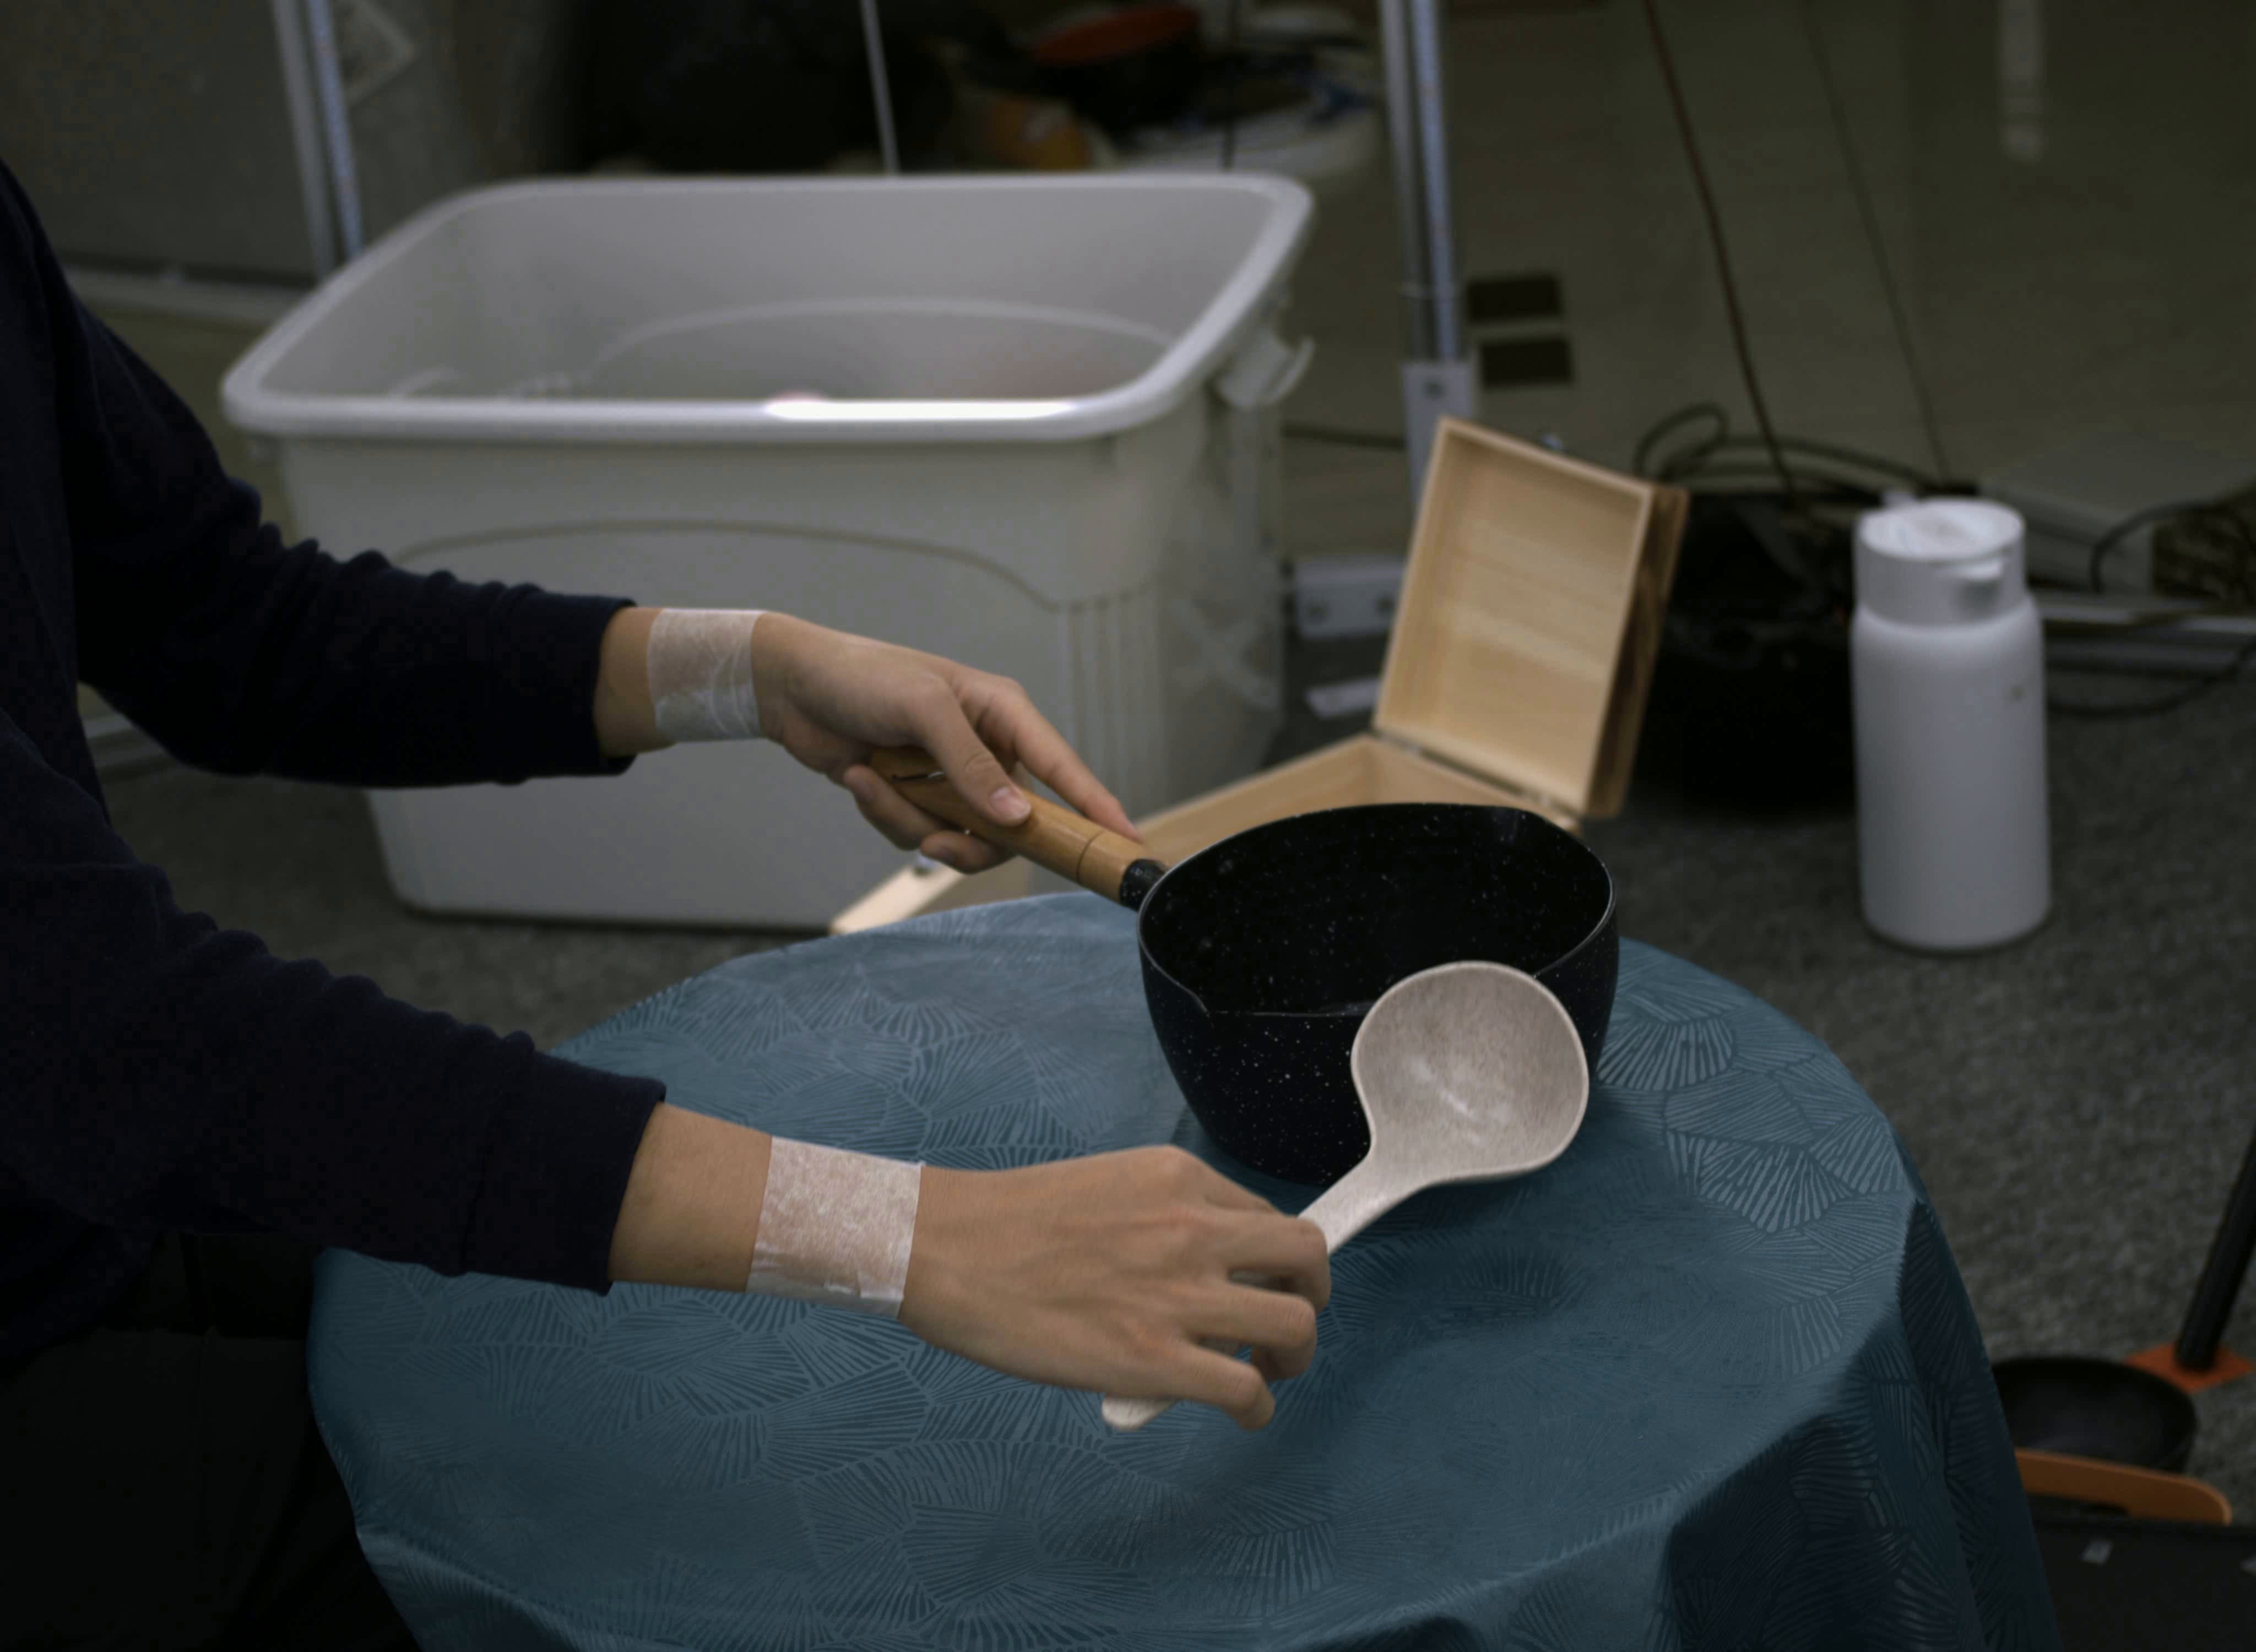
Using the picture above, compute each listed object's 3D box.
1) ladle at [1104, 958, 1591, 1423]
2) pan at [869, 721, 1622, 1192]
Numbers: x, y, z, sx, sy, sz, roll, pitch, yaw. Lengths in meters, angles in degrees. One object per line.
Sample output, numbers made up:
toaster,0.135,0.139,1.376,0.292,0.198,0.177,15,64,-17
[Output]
ladle,0.072,0.123,1.954,0.089,0.070,0.272,33,32,16
pan,0.035,0.042,2.216,0.340,0.110,0.205,14,34,35
